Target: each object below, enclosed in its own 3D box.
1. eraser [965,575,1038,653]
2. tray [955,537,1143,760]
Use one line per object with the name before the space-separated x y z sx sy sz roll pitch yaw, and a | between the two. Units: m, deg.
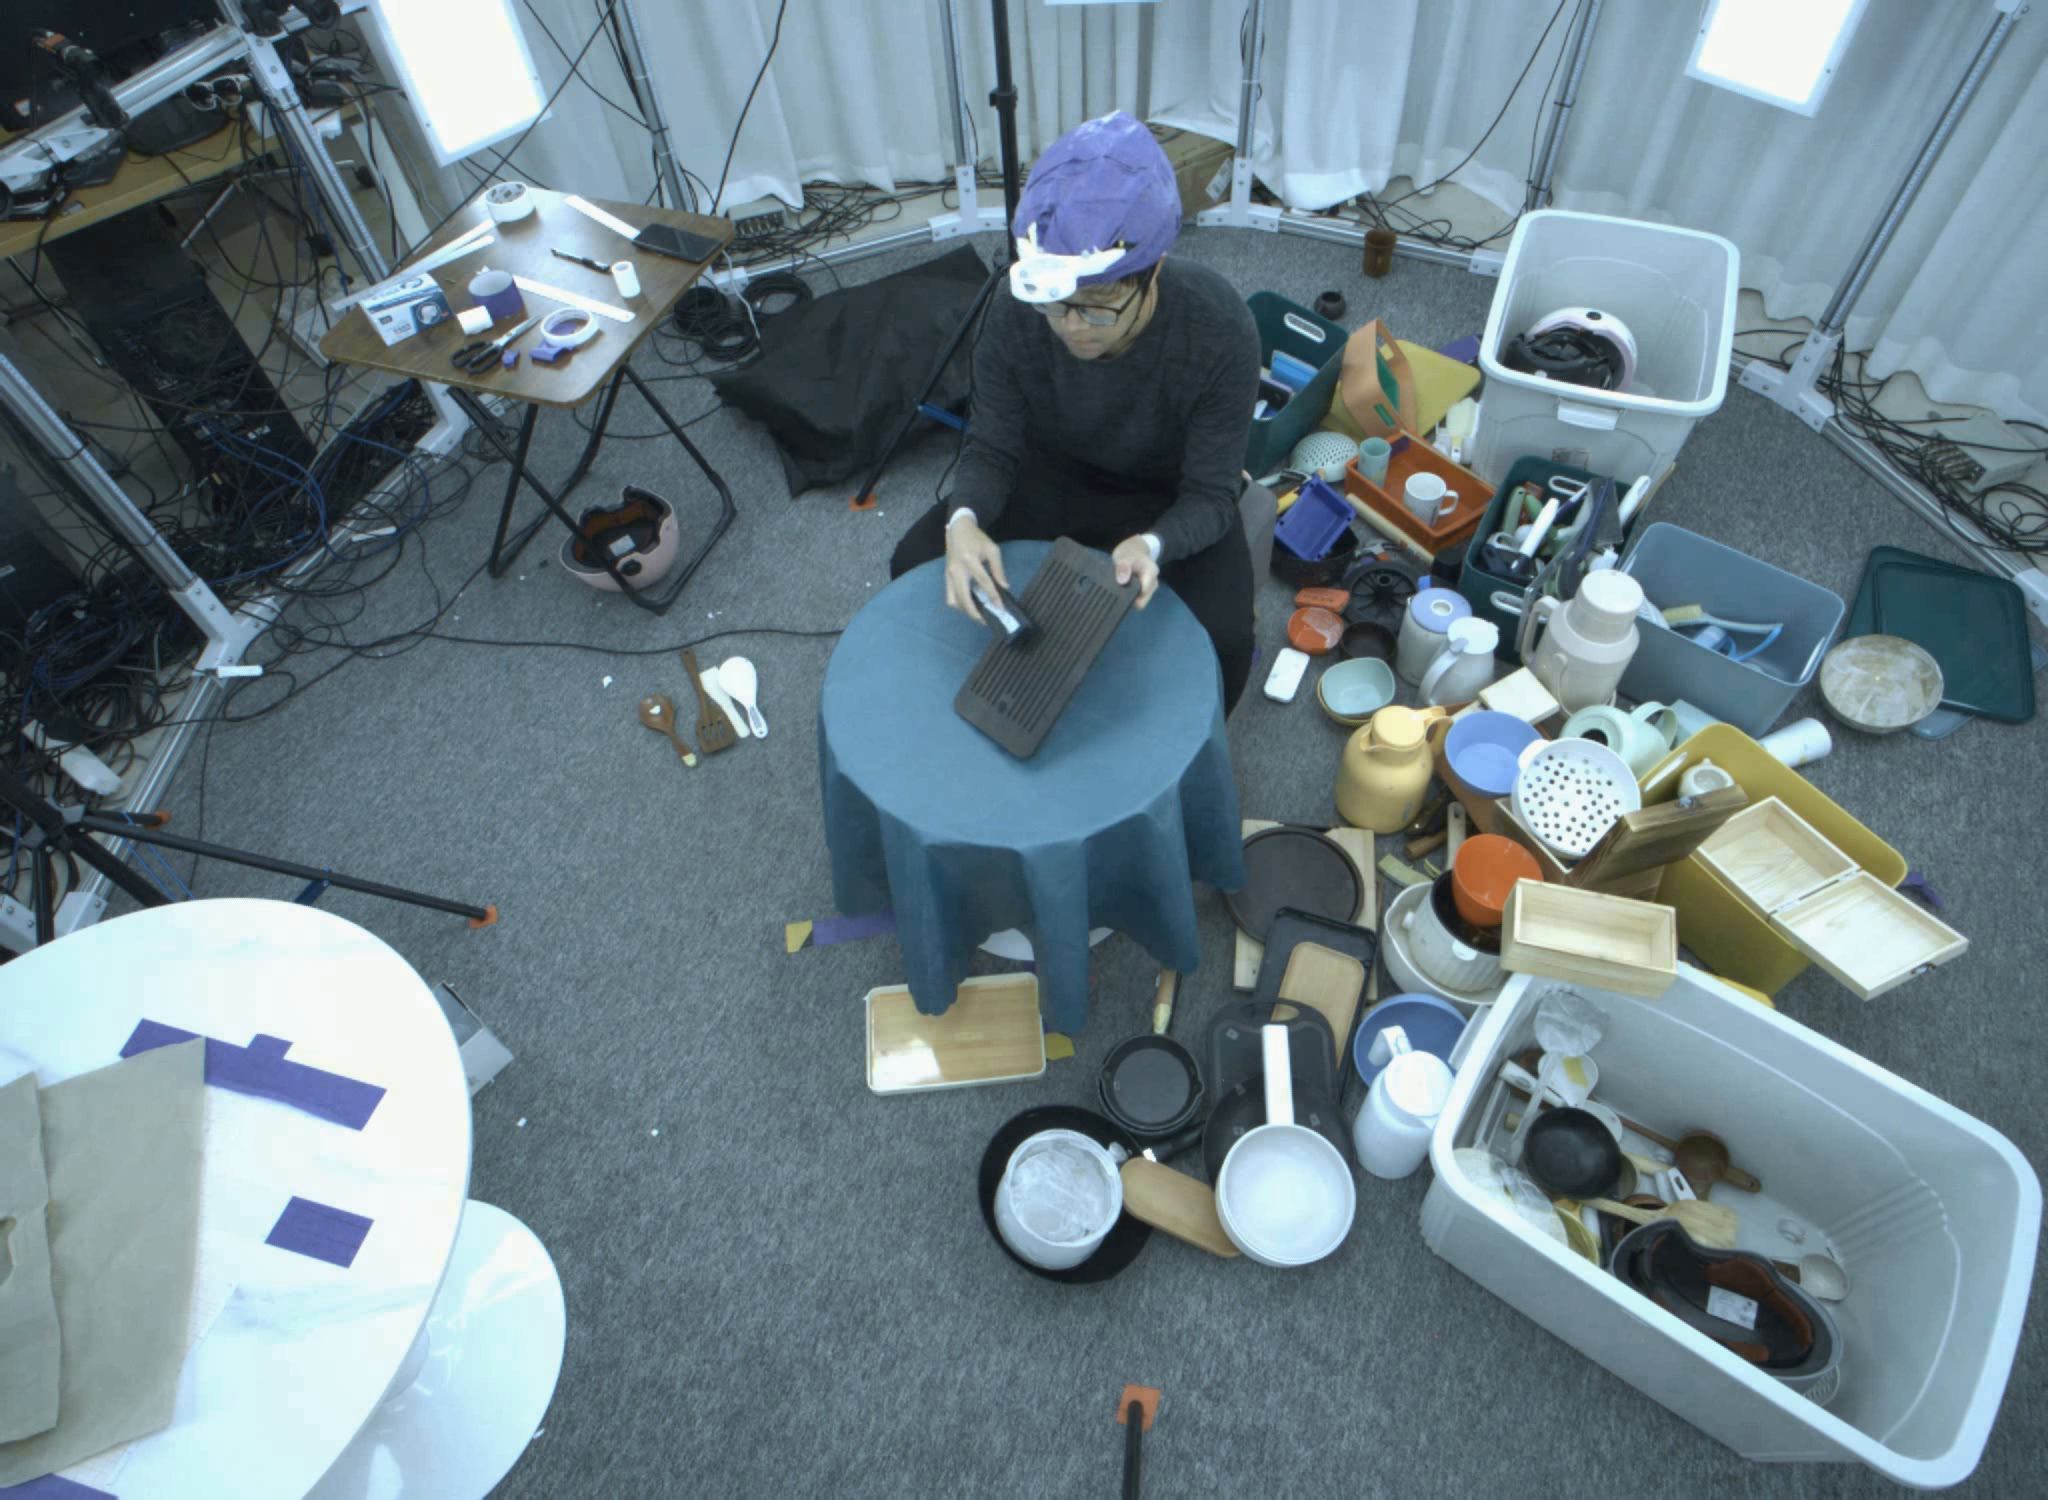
eraser | -0.034 -0.201 1.810 0.053 0.031 0.123 -45 59 9
tray | 0.034 -0.148 1.783 0.166 0.019 0.305 36 96 31
